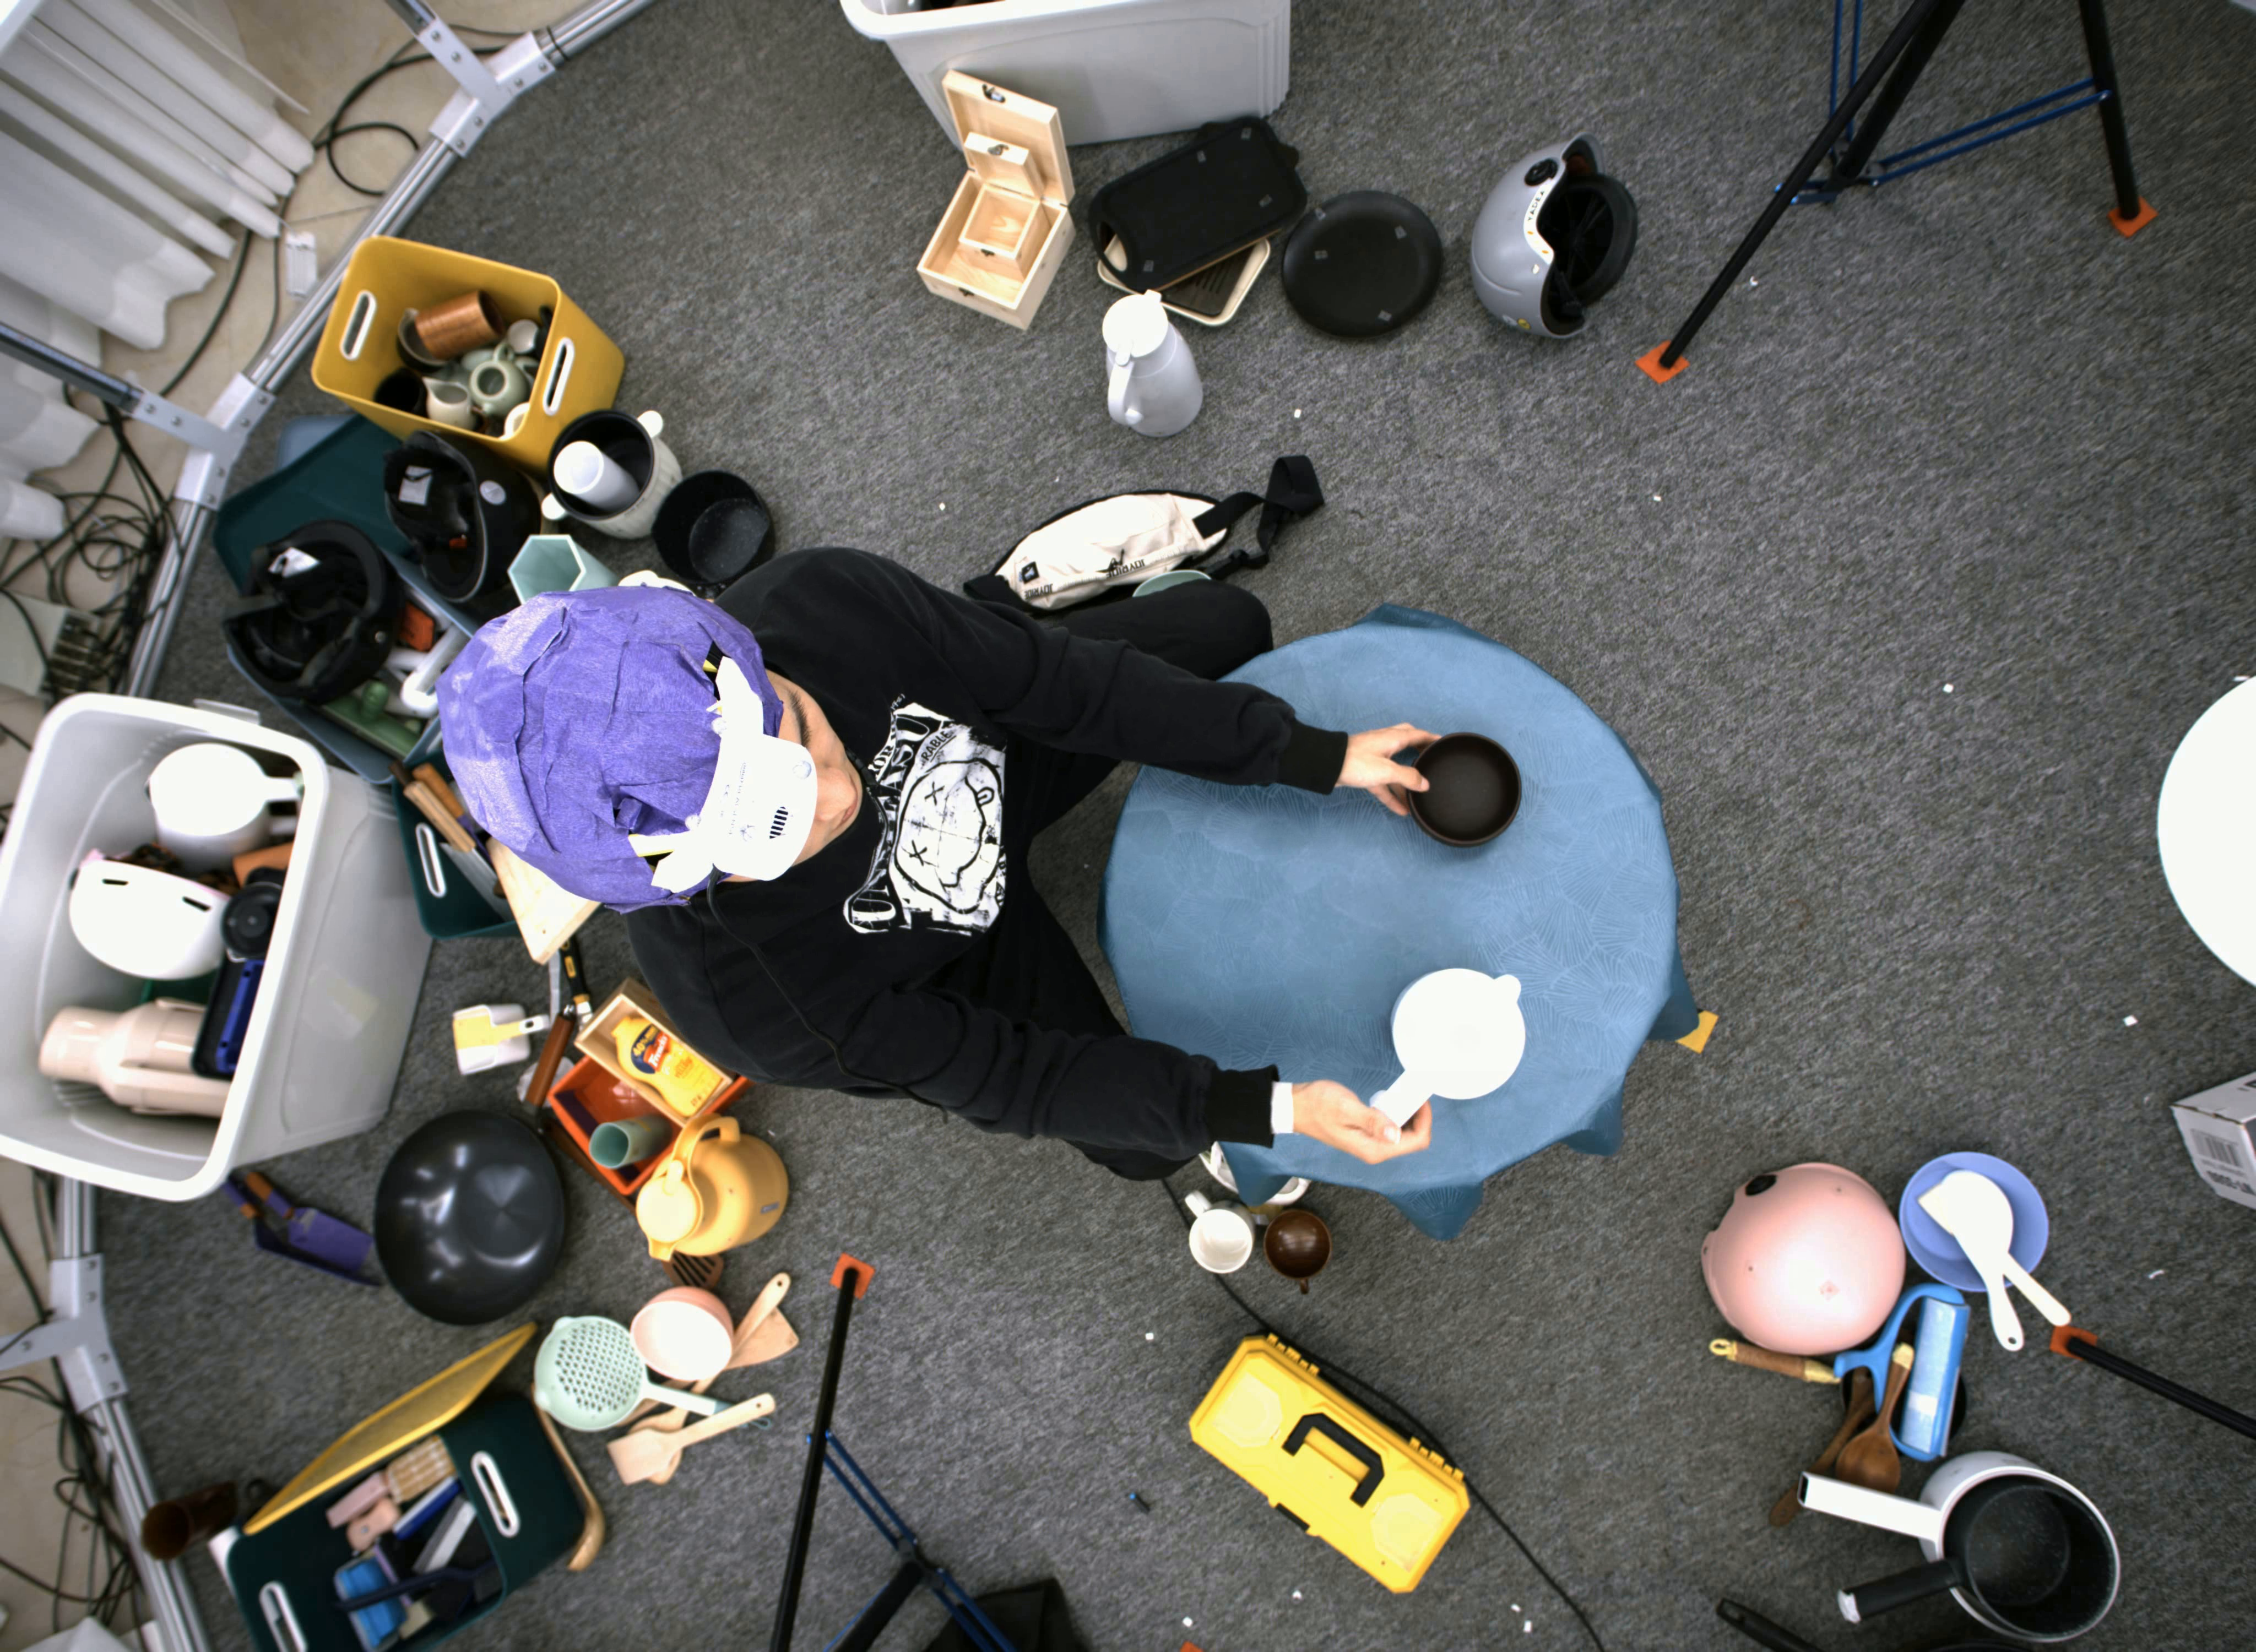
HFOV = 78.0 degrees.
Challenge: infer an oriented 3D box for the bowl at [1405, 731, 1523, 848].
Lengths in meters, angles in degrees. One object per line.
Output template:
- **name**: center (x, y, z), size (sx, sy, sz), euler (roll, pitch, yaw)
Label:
- **bowl**: center (0.344, -0.037, 1.415), size (0.118, 0.070, 0.117), euler (-1, 87, 11)

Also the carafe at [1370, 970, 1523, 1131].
- **carafe**: center (0.299, 0.208, 1.314), size (0.123, 0.269, 0.173), euler (41, 93, 9)
